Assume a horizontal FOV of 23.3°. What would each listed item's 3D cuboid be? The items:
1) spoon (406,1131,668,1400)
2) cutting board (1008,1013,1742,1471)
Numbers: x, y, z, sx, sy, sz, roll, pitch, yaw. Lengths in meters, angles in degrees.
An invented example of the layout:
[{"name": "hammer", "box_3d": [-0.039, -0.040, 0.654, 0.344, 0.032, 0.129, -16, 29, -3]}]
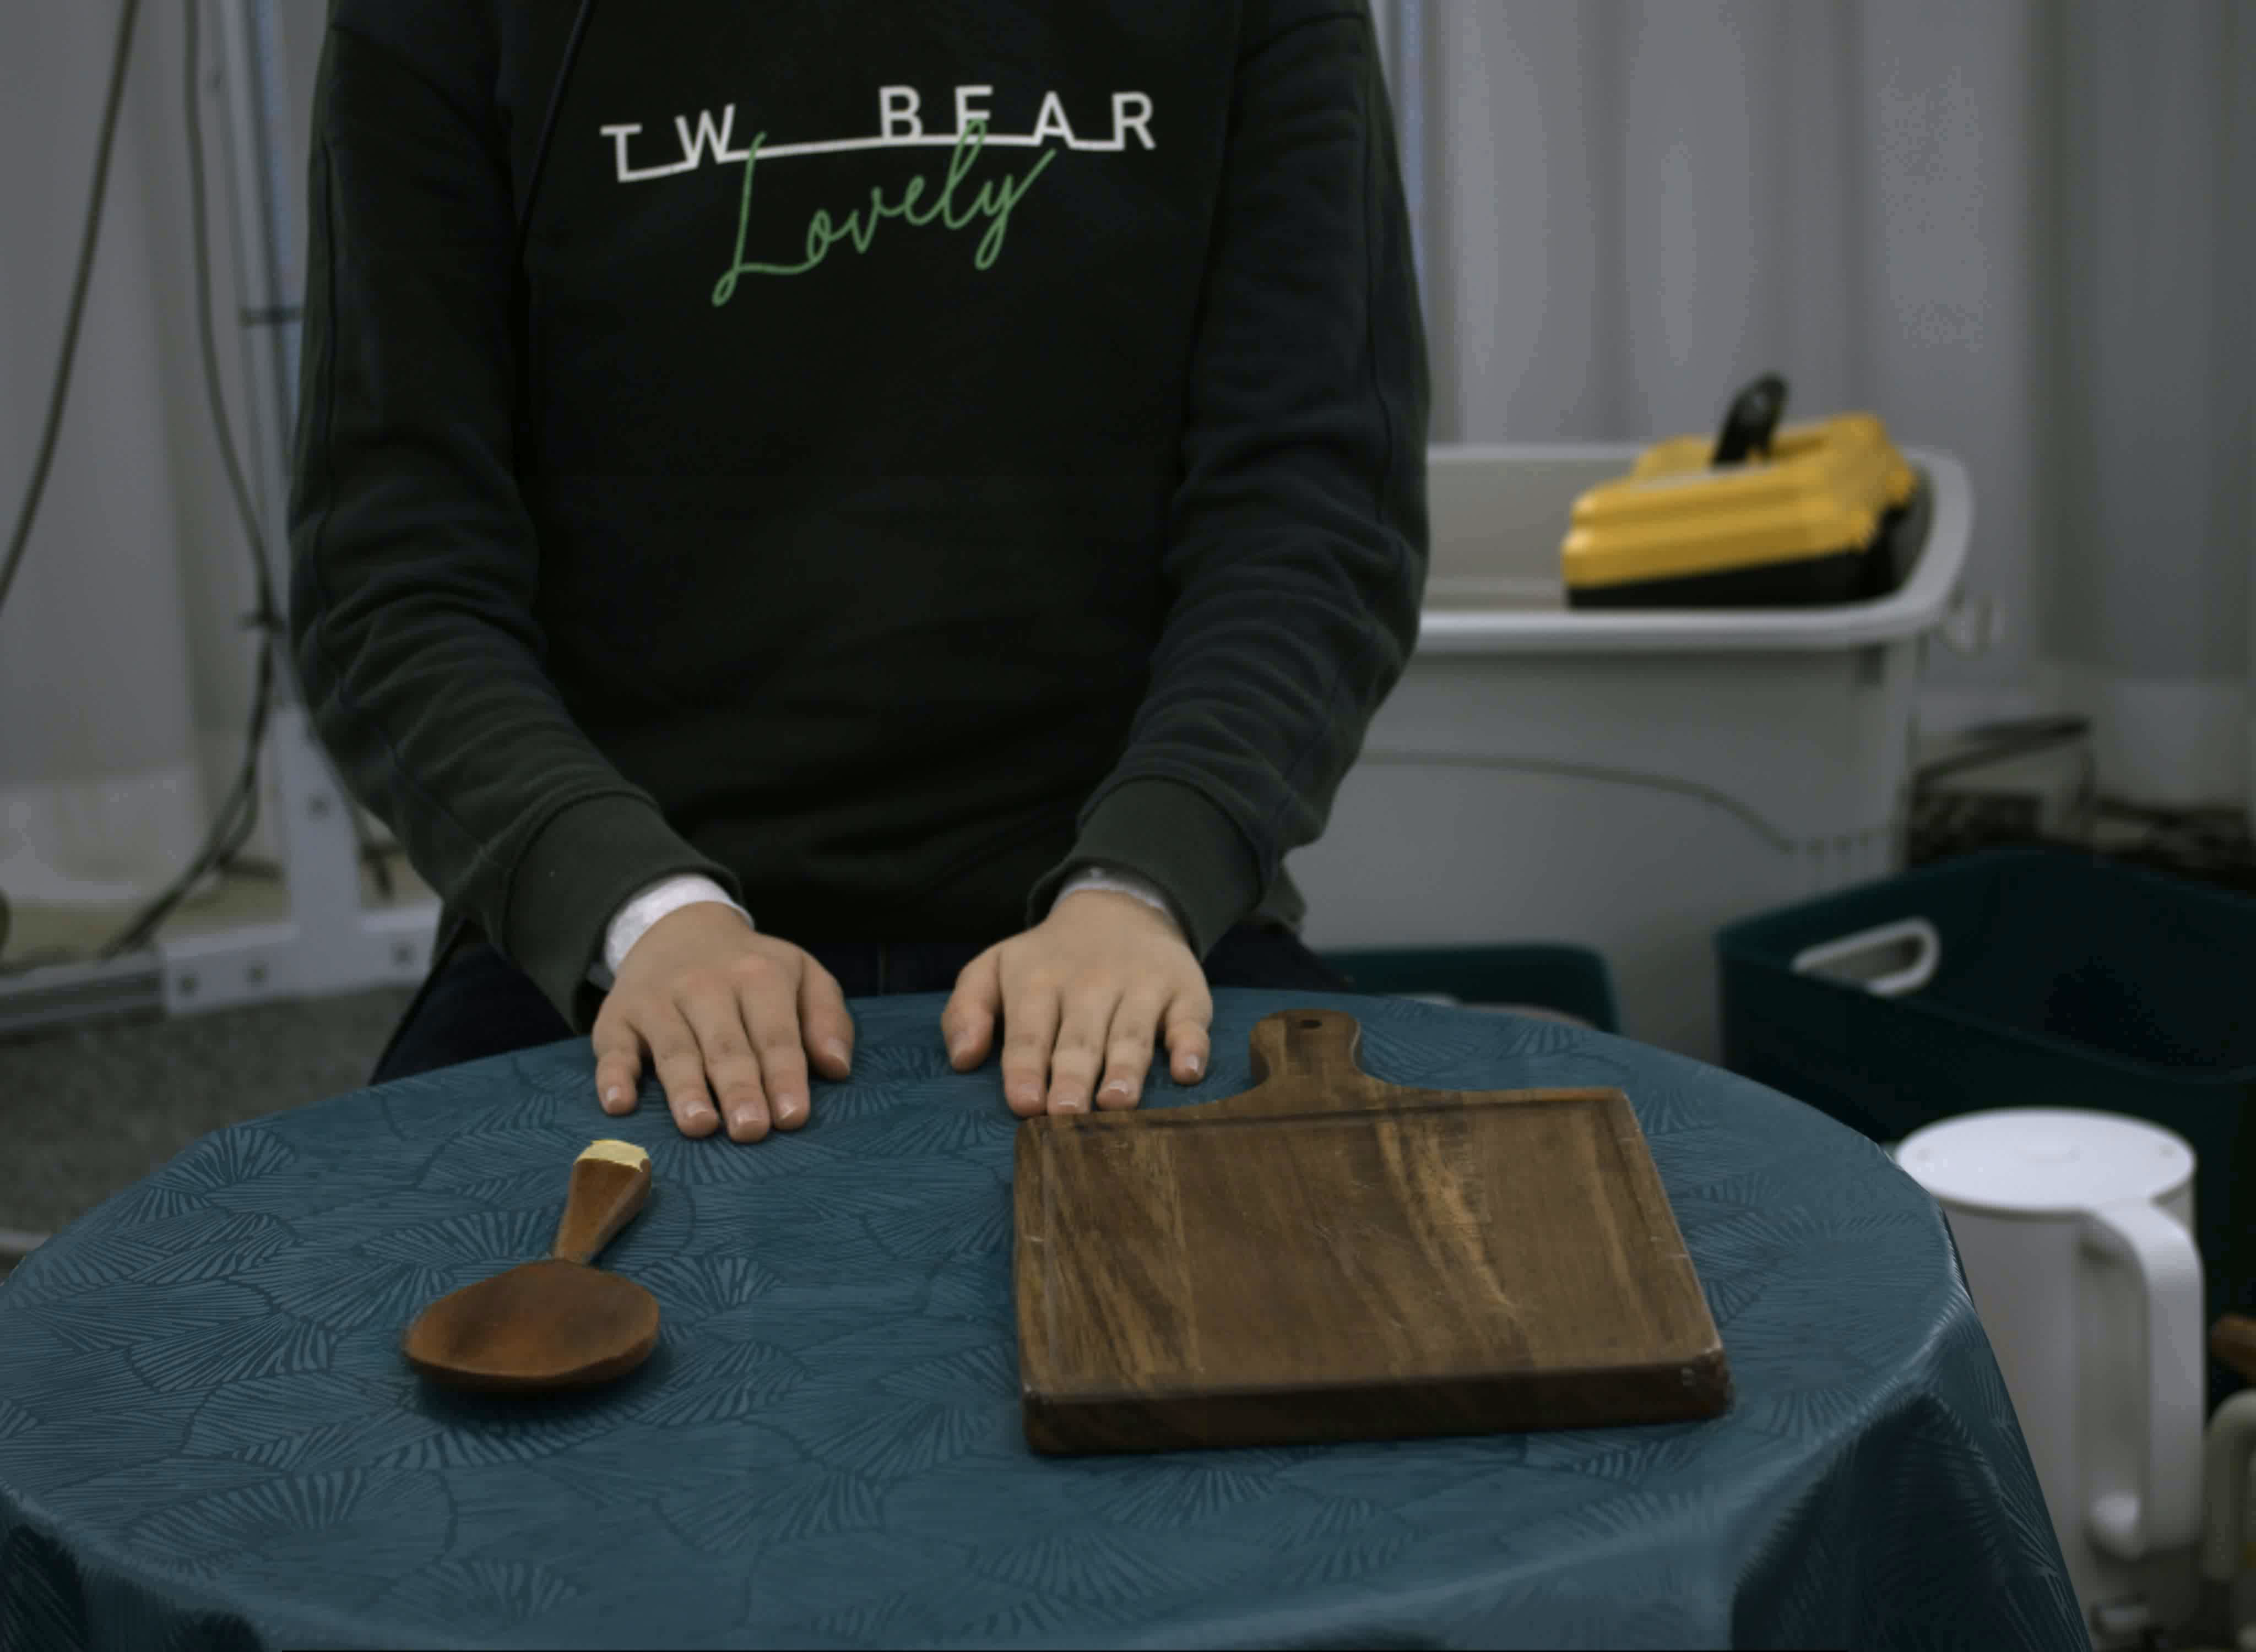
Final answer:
[{"name": "spoon", "box_3d": [-0.167, 0.133, 1.643, 0.075, 0.017, 0.217, -4, 15, 4]}, {"name": "cutting board", "box_3d": [0.064, 0.117, 1.662, 0.200, 0.023, 0.354, -4, 15, -1]}]
